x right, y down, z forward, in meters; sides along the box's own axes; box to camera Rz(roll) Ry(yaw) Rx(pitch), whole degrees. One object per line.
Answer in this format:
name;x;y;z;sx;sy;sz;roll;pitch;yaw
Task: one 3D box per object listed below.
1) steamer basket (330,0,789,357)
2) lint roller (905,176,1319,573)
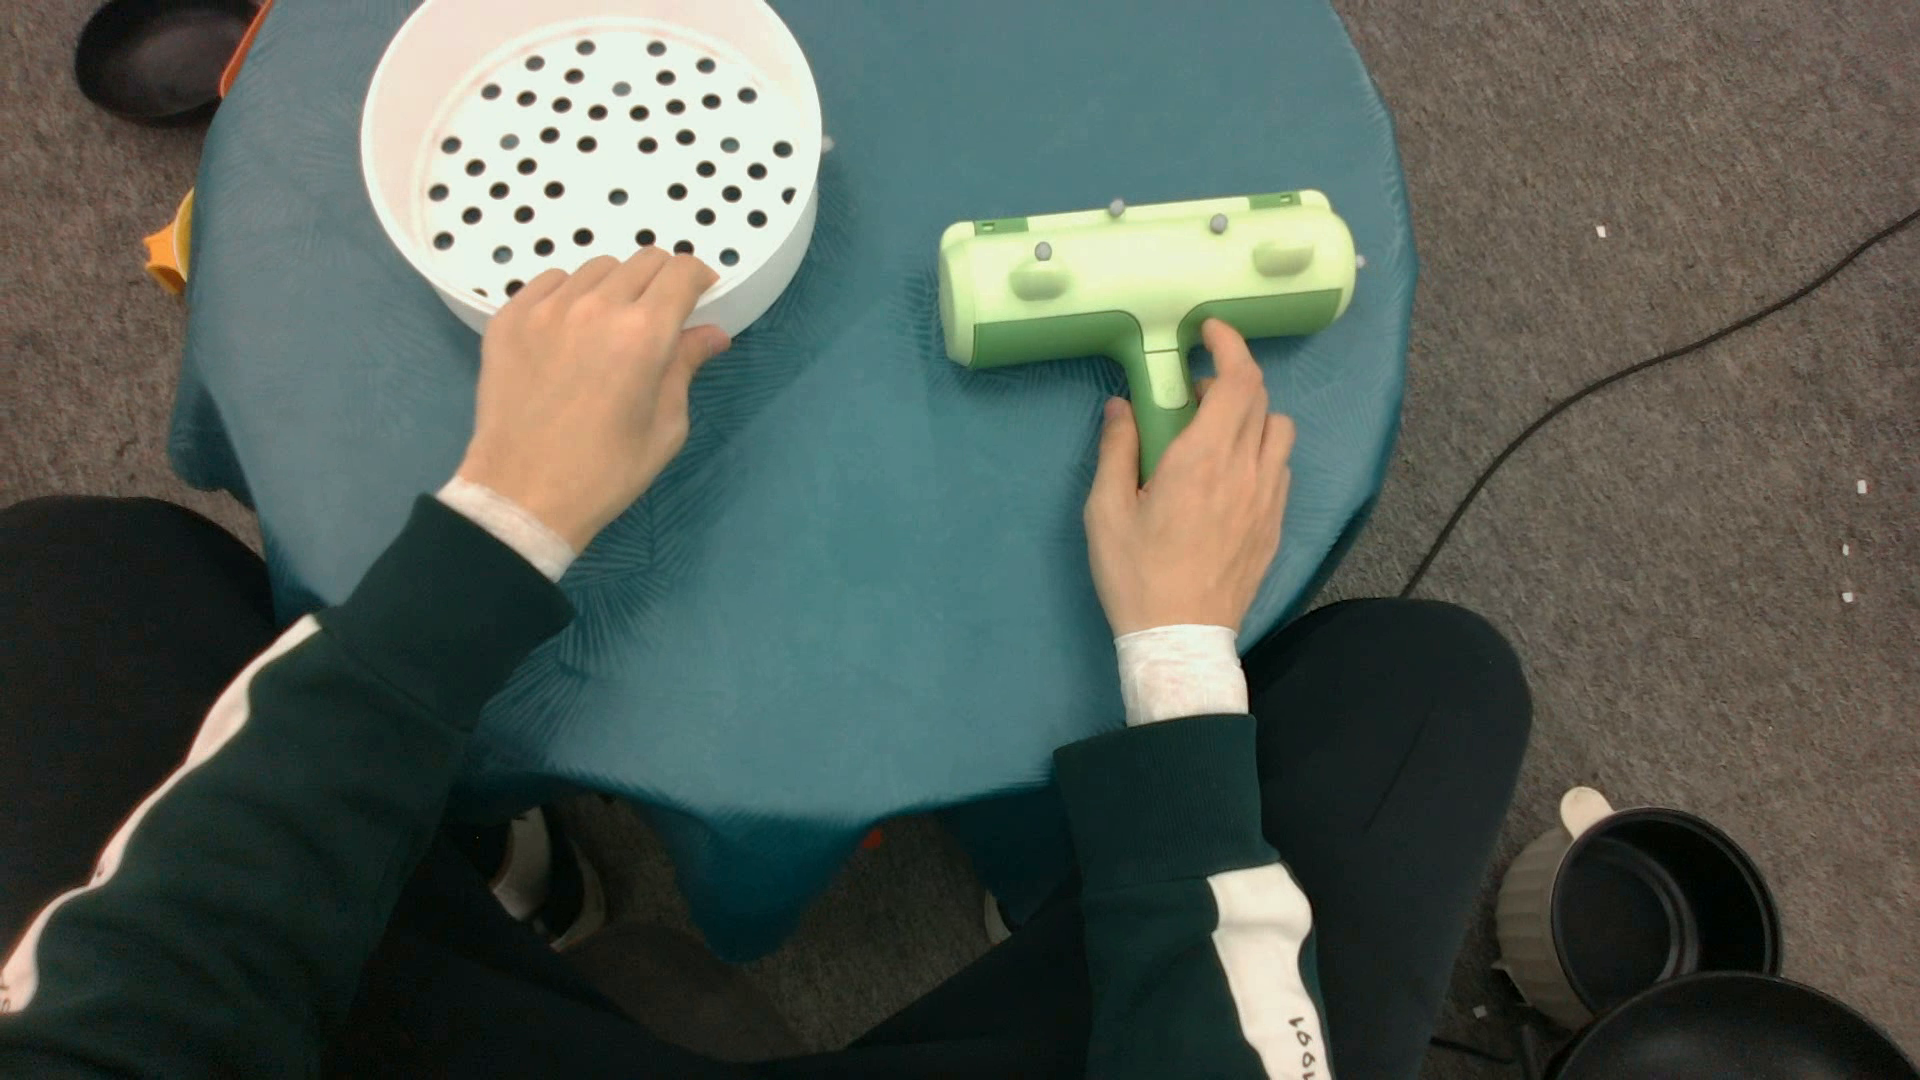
steamer basket;-0.180;-0.182;0.644;0.202;0.069;0.231;-2;70;-5
lint roller;0.085;-0.081;0.638;0.199;0.082;0.184;-9;72;-11
